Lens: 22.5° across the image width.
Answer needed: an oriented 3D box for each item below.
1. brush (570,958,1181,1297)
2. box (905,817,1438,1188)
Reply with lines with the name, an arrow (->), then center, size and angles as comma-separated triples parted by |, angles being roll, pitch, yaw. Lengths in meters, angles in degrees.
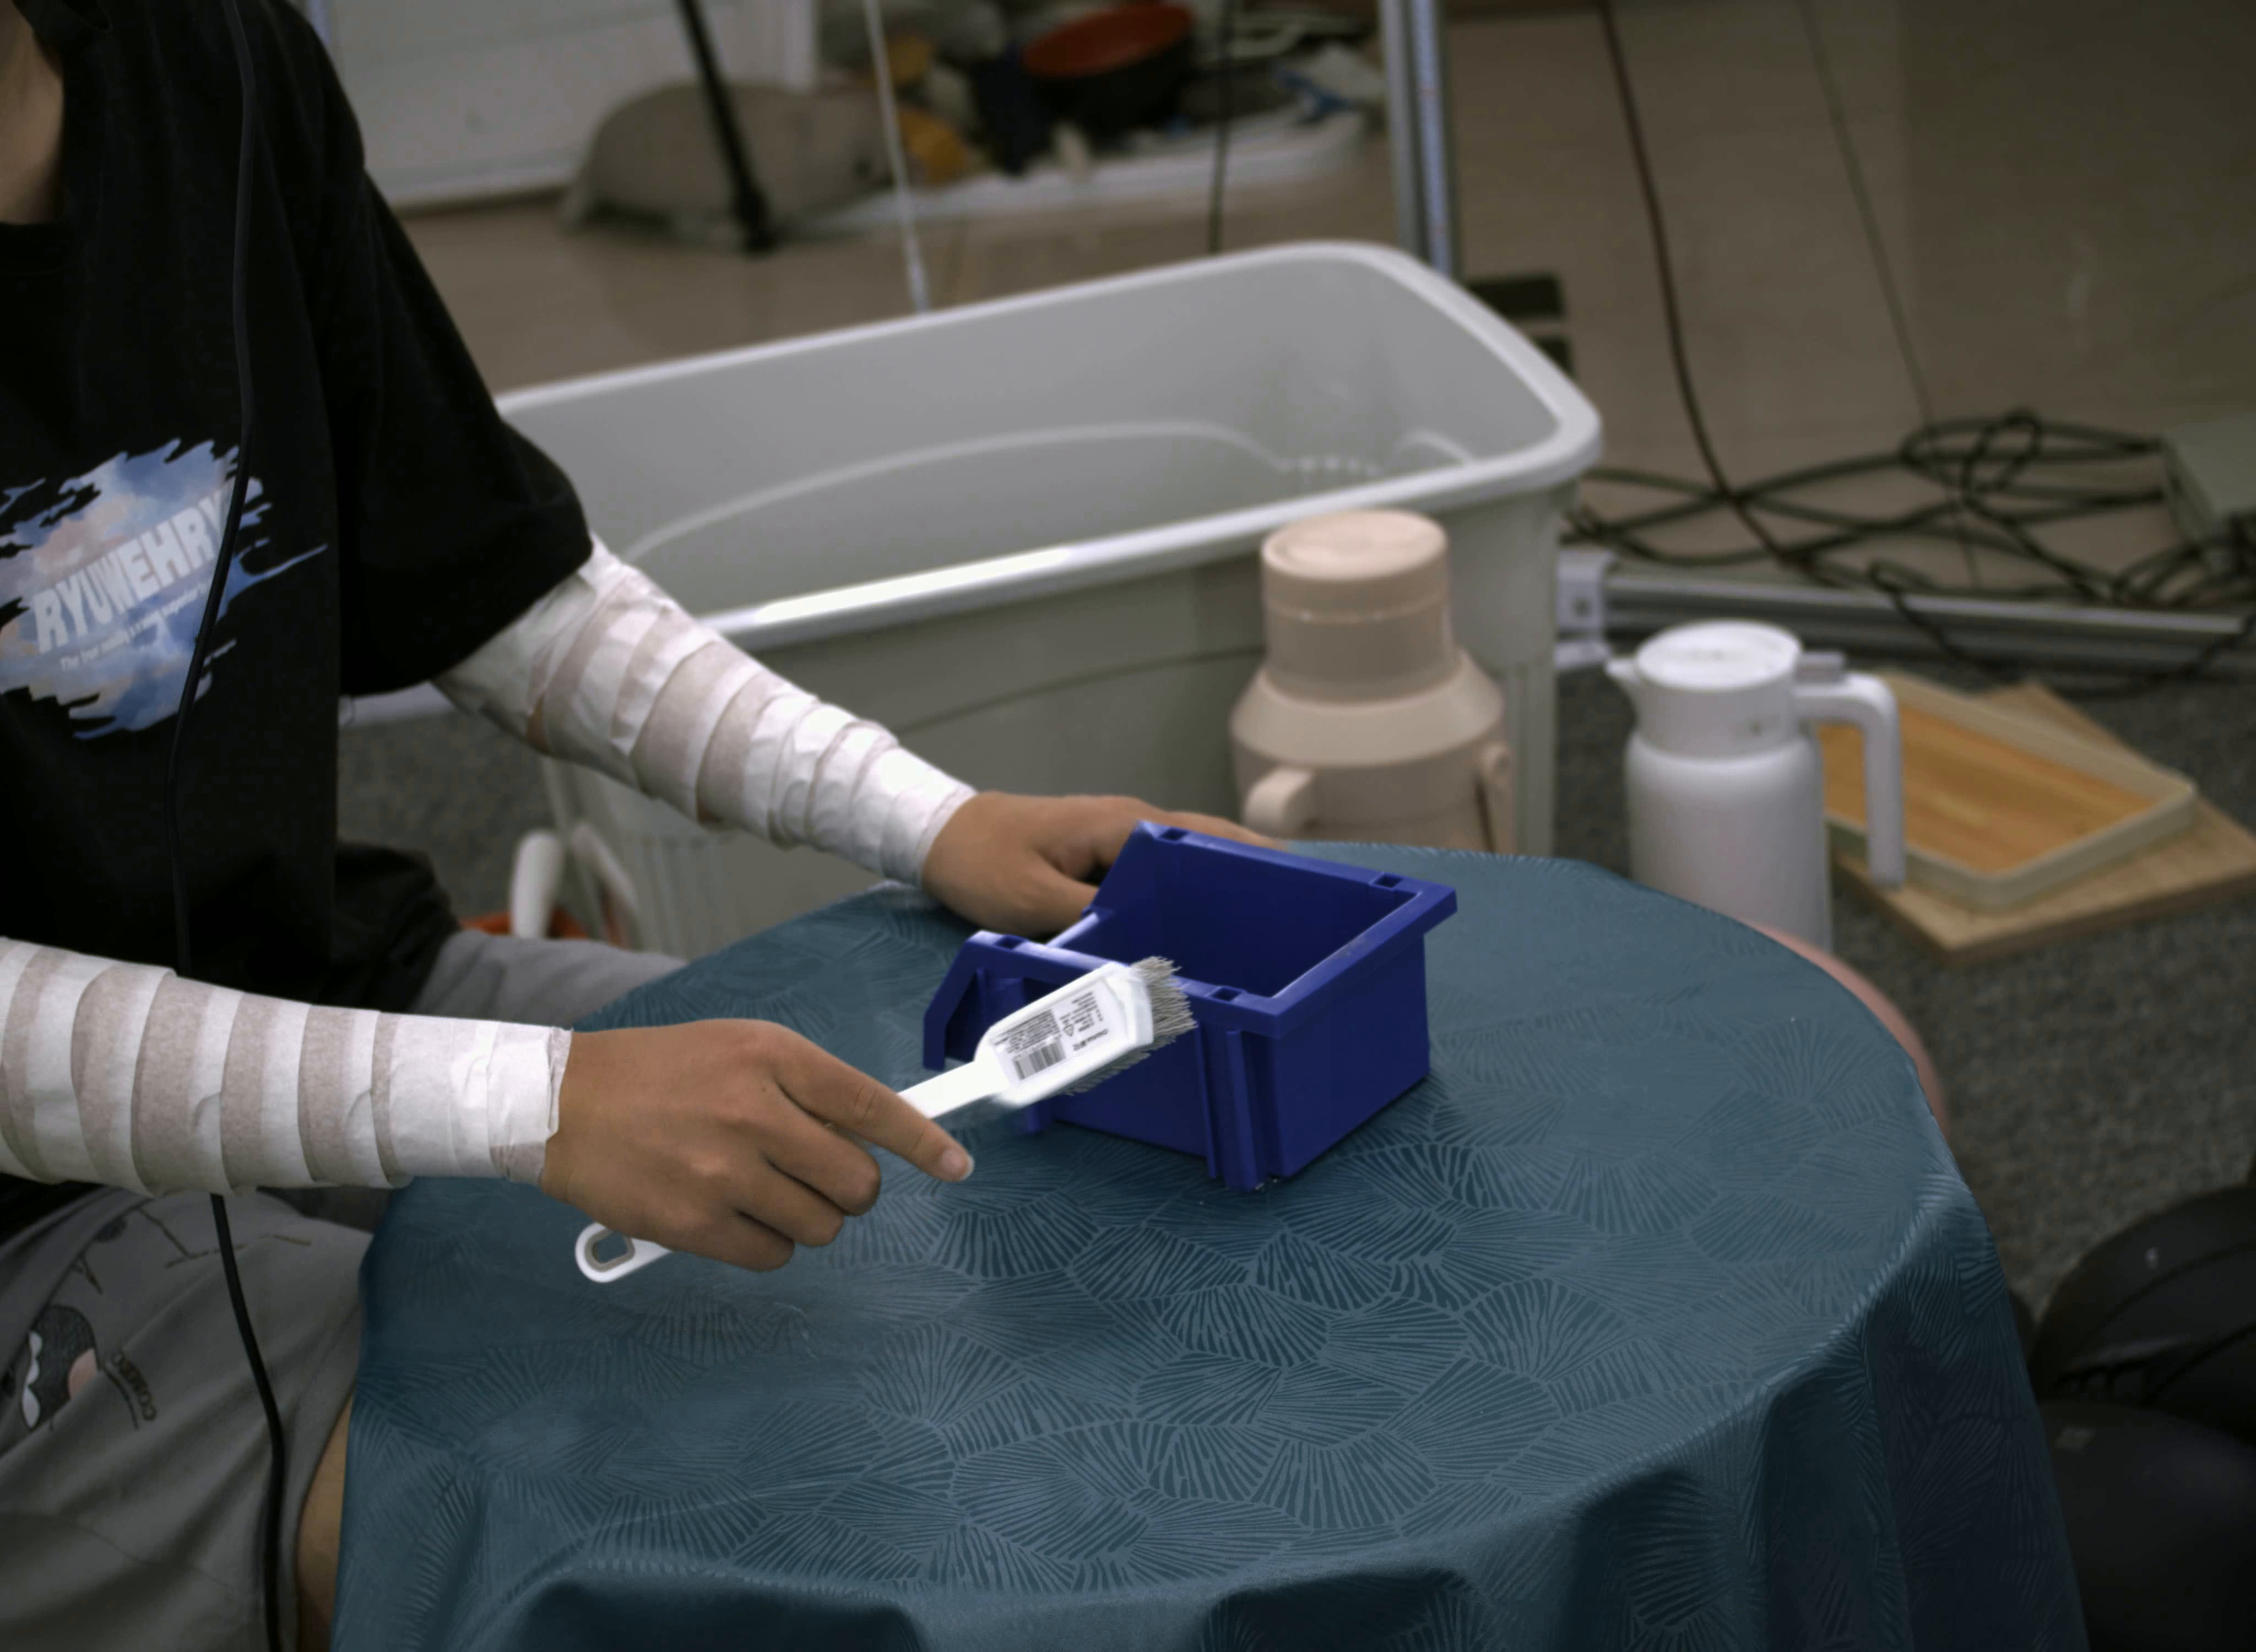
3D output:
brush -> -0.092, 0.112, 2.065 | 0.244, 0.034, 0.050 | -27, -9, 14
box -> 0.015, 0.066, 2.204 | 0.178, 0.083, 0.123 | 15, 33, 36
